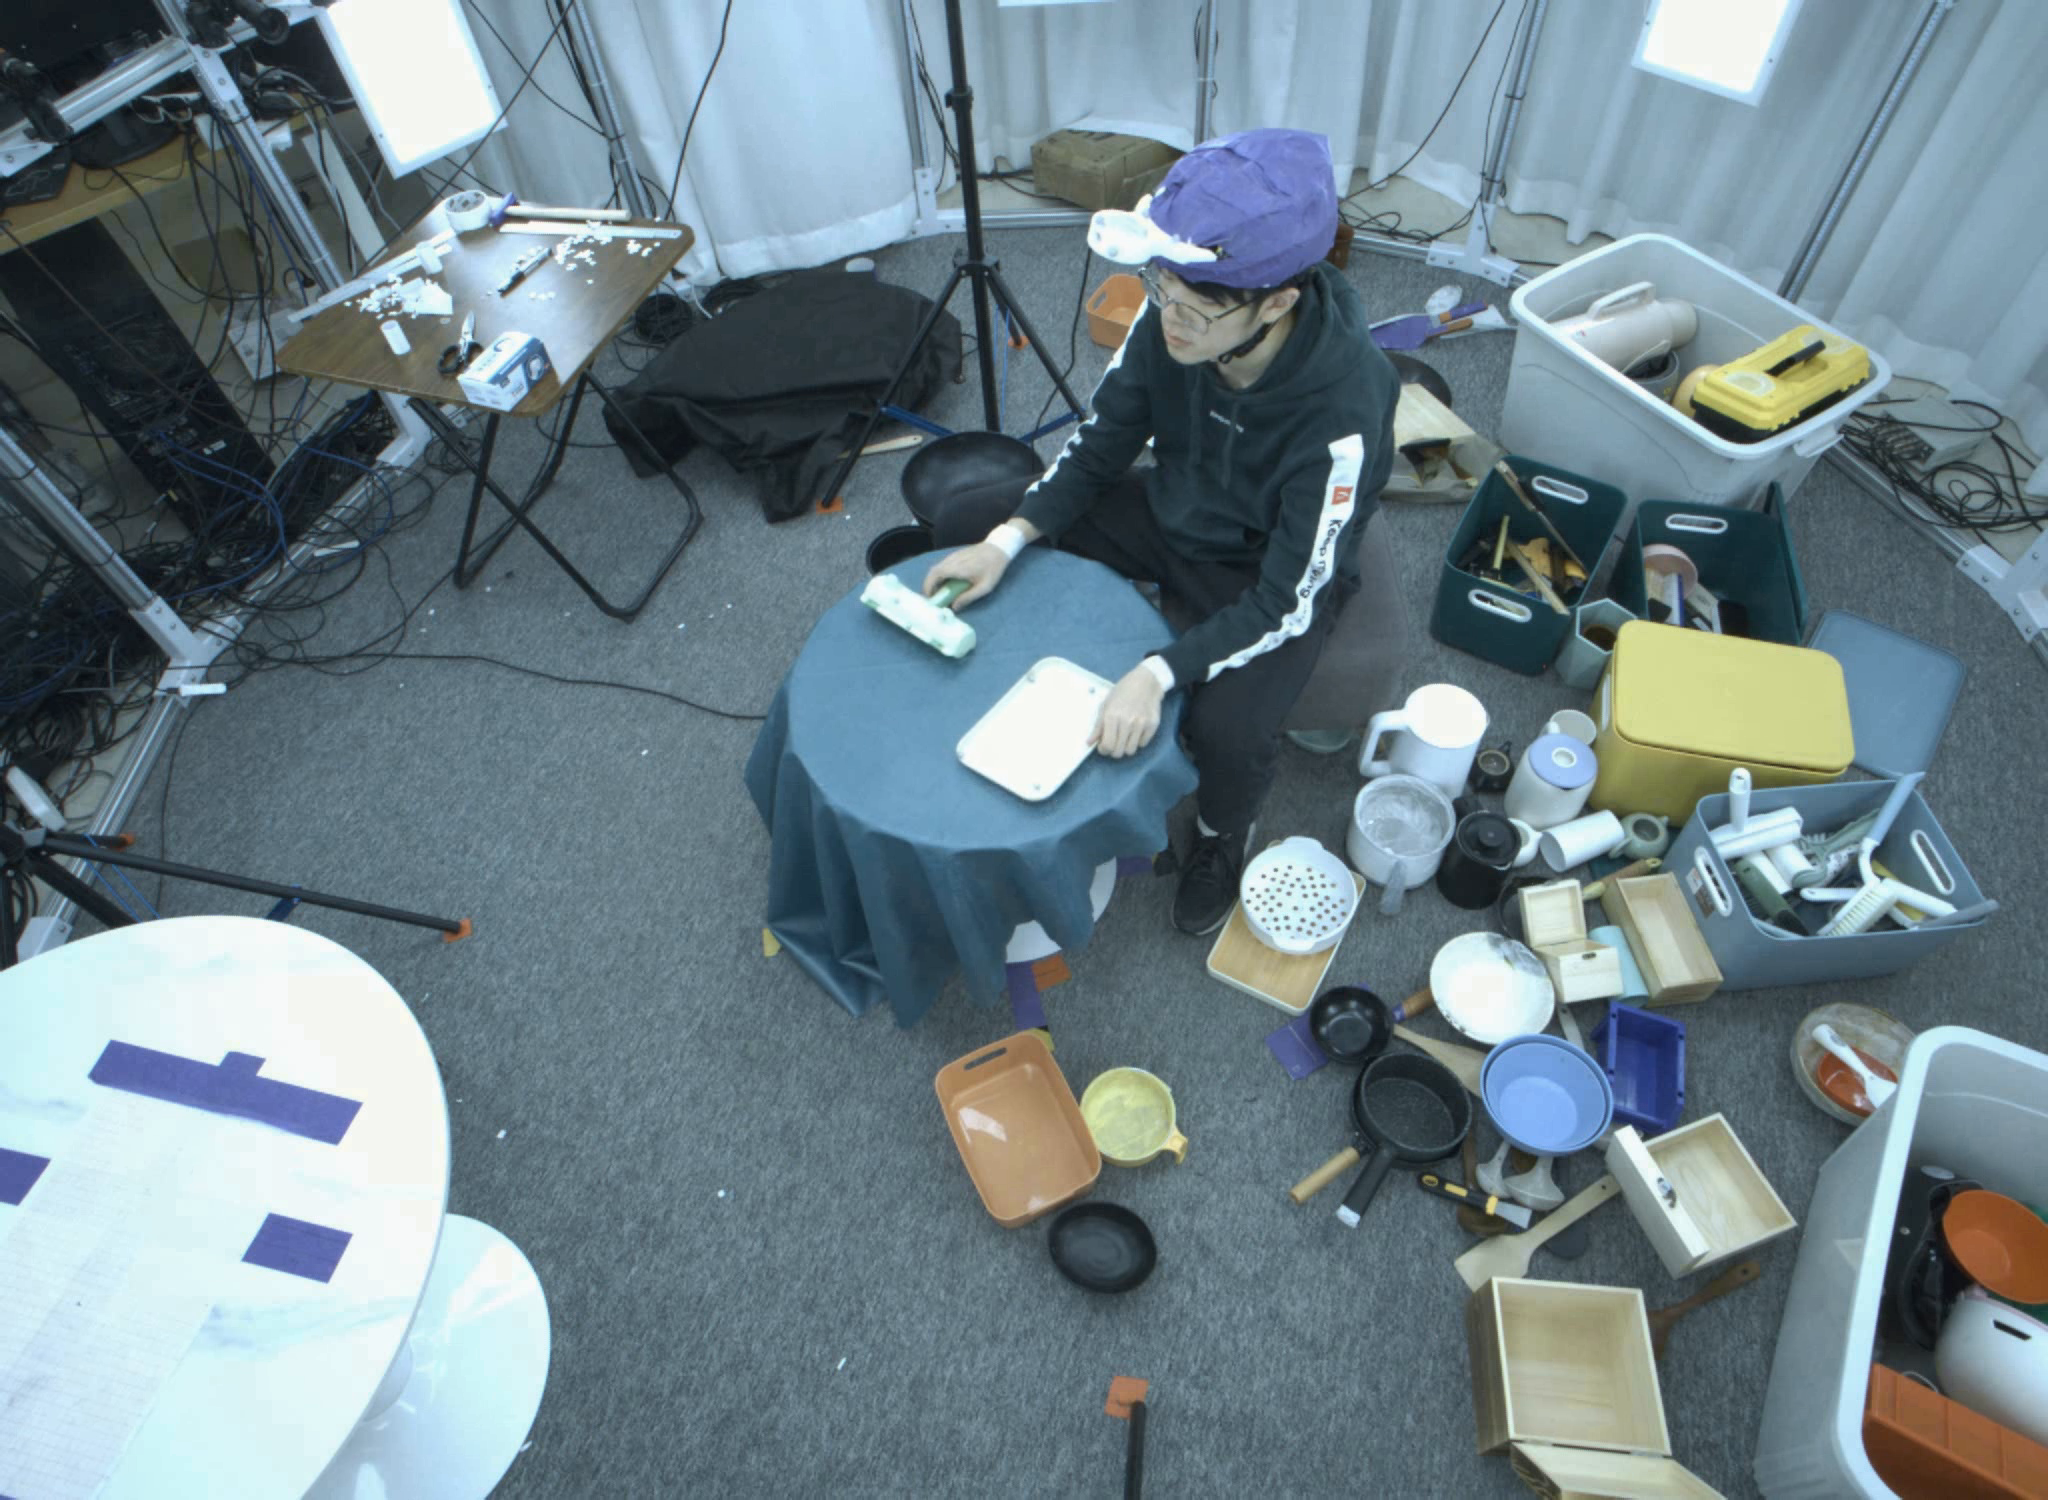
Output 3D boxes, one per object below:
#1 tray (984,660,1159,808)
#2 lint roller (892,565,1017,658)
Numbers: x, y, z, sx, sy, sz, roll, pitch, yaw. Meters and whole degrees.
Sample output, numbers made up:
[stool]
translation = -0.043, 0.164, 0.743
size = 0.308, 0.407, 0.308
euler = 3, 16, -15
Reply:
[tray]
translation = 0.070, -0.025, 1.783
size = 0.168, 0.018, 0.241
euler = 32, 62, 24
[lint roller]
translation = -0.079, -0.248, 1.914
size = 0.195, 0.083, 0.184
euler = 35, 67, 24
